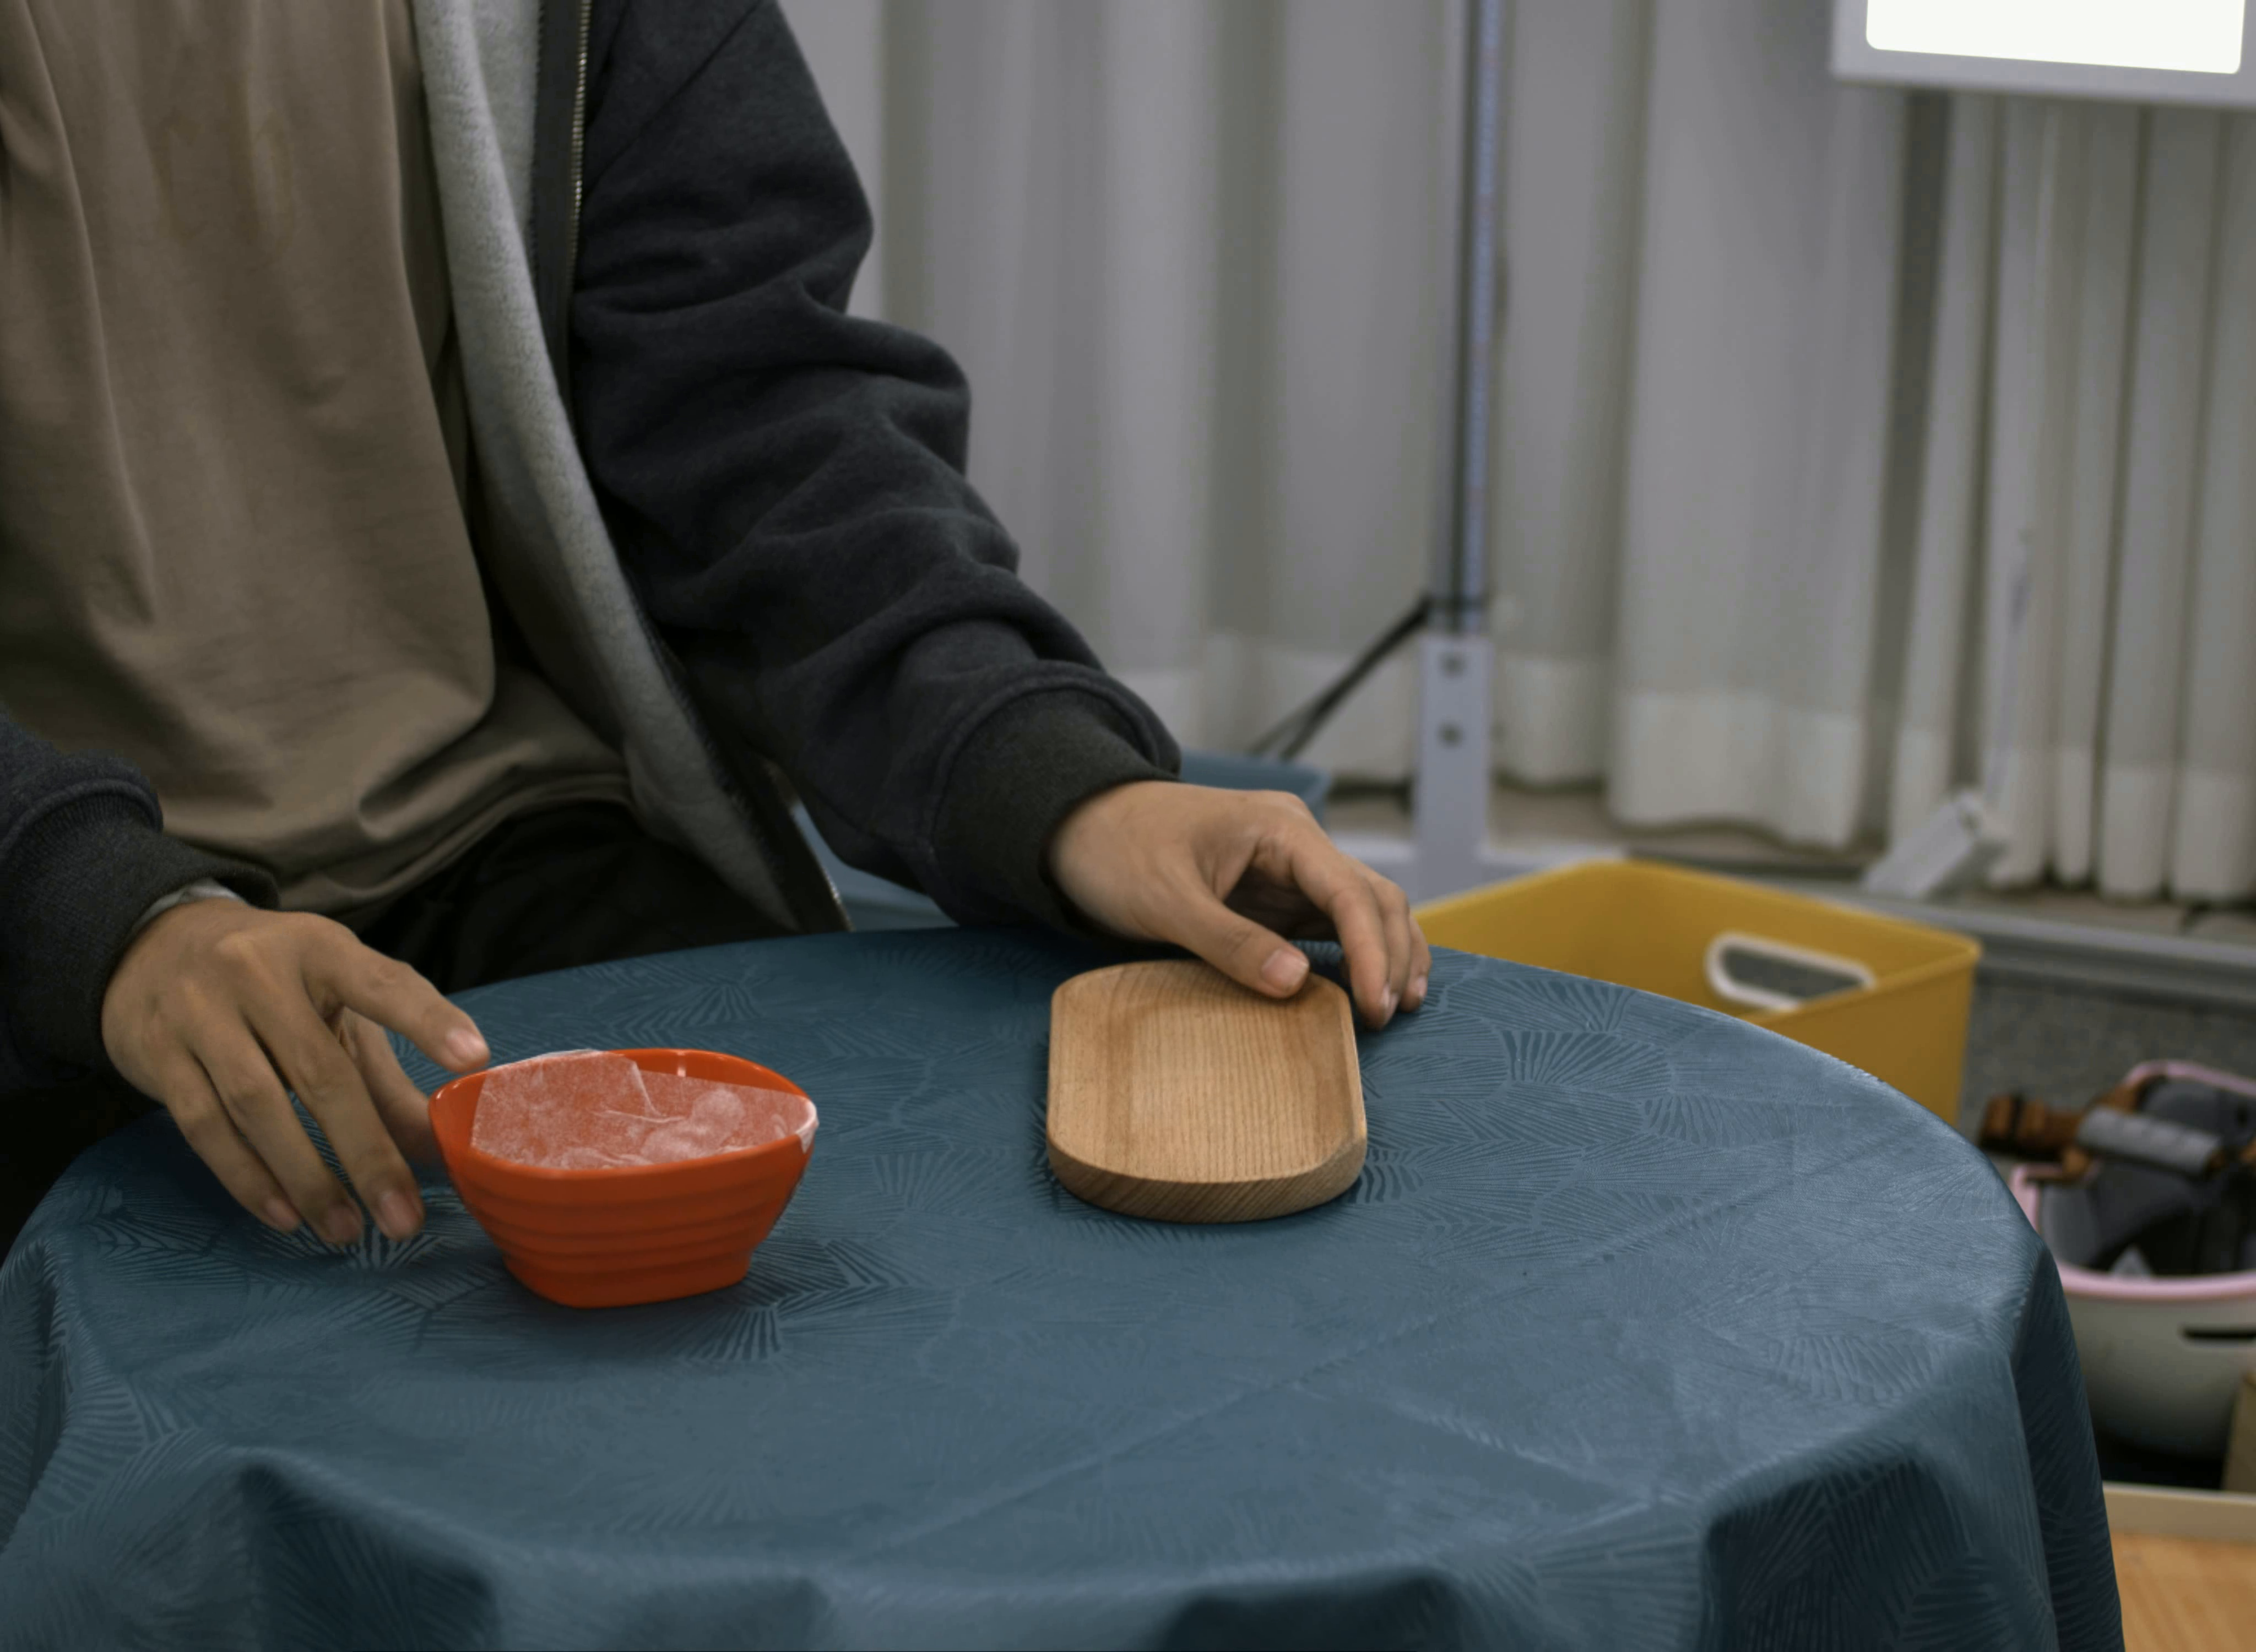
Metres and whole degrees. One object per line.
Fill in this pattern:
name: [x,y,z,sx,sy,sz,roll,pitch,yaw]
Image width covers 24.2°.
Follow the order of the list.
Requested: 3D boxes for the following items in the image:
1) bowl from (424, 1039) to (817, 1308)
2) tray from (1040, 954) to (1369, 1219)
bowl: [-0.149,0.104,1.547,0.118,0.052,0.118,0,17,0]
tray: [0.023,0.082,1.702,0.101,0.020,0.230,1,15,-2]
